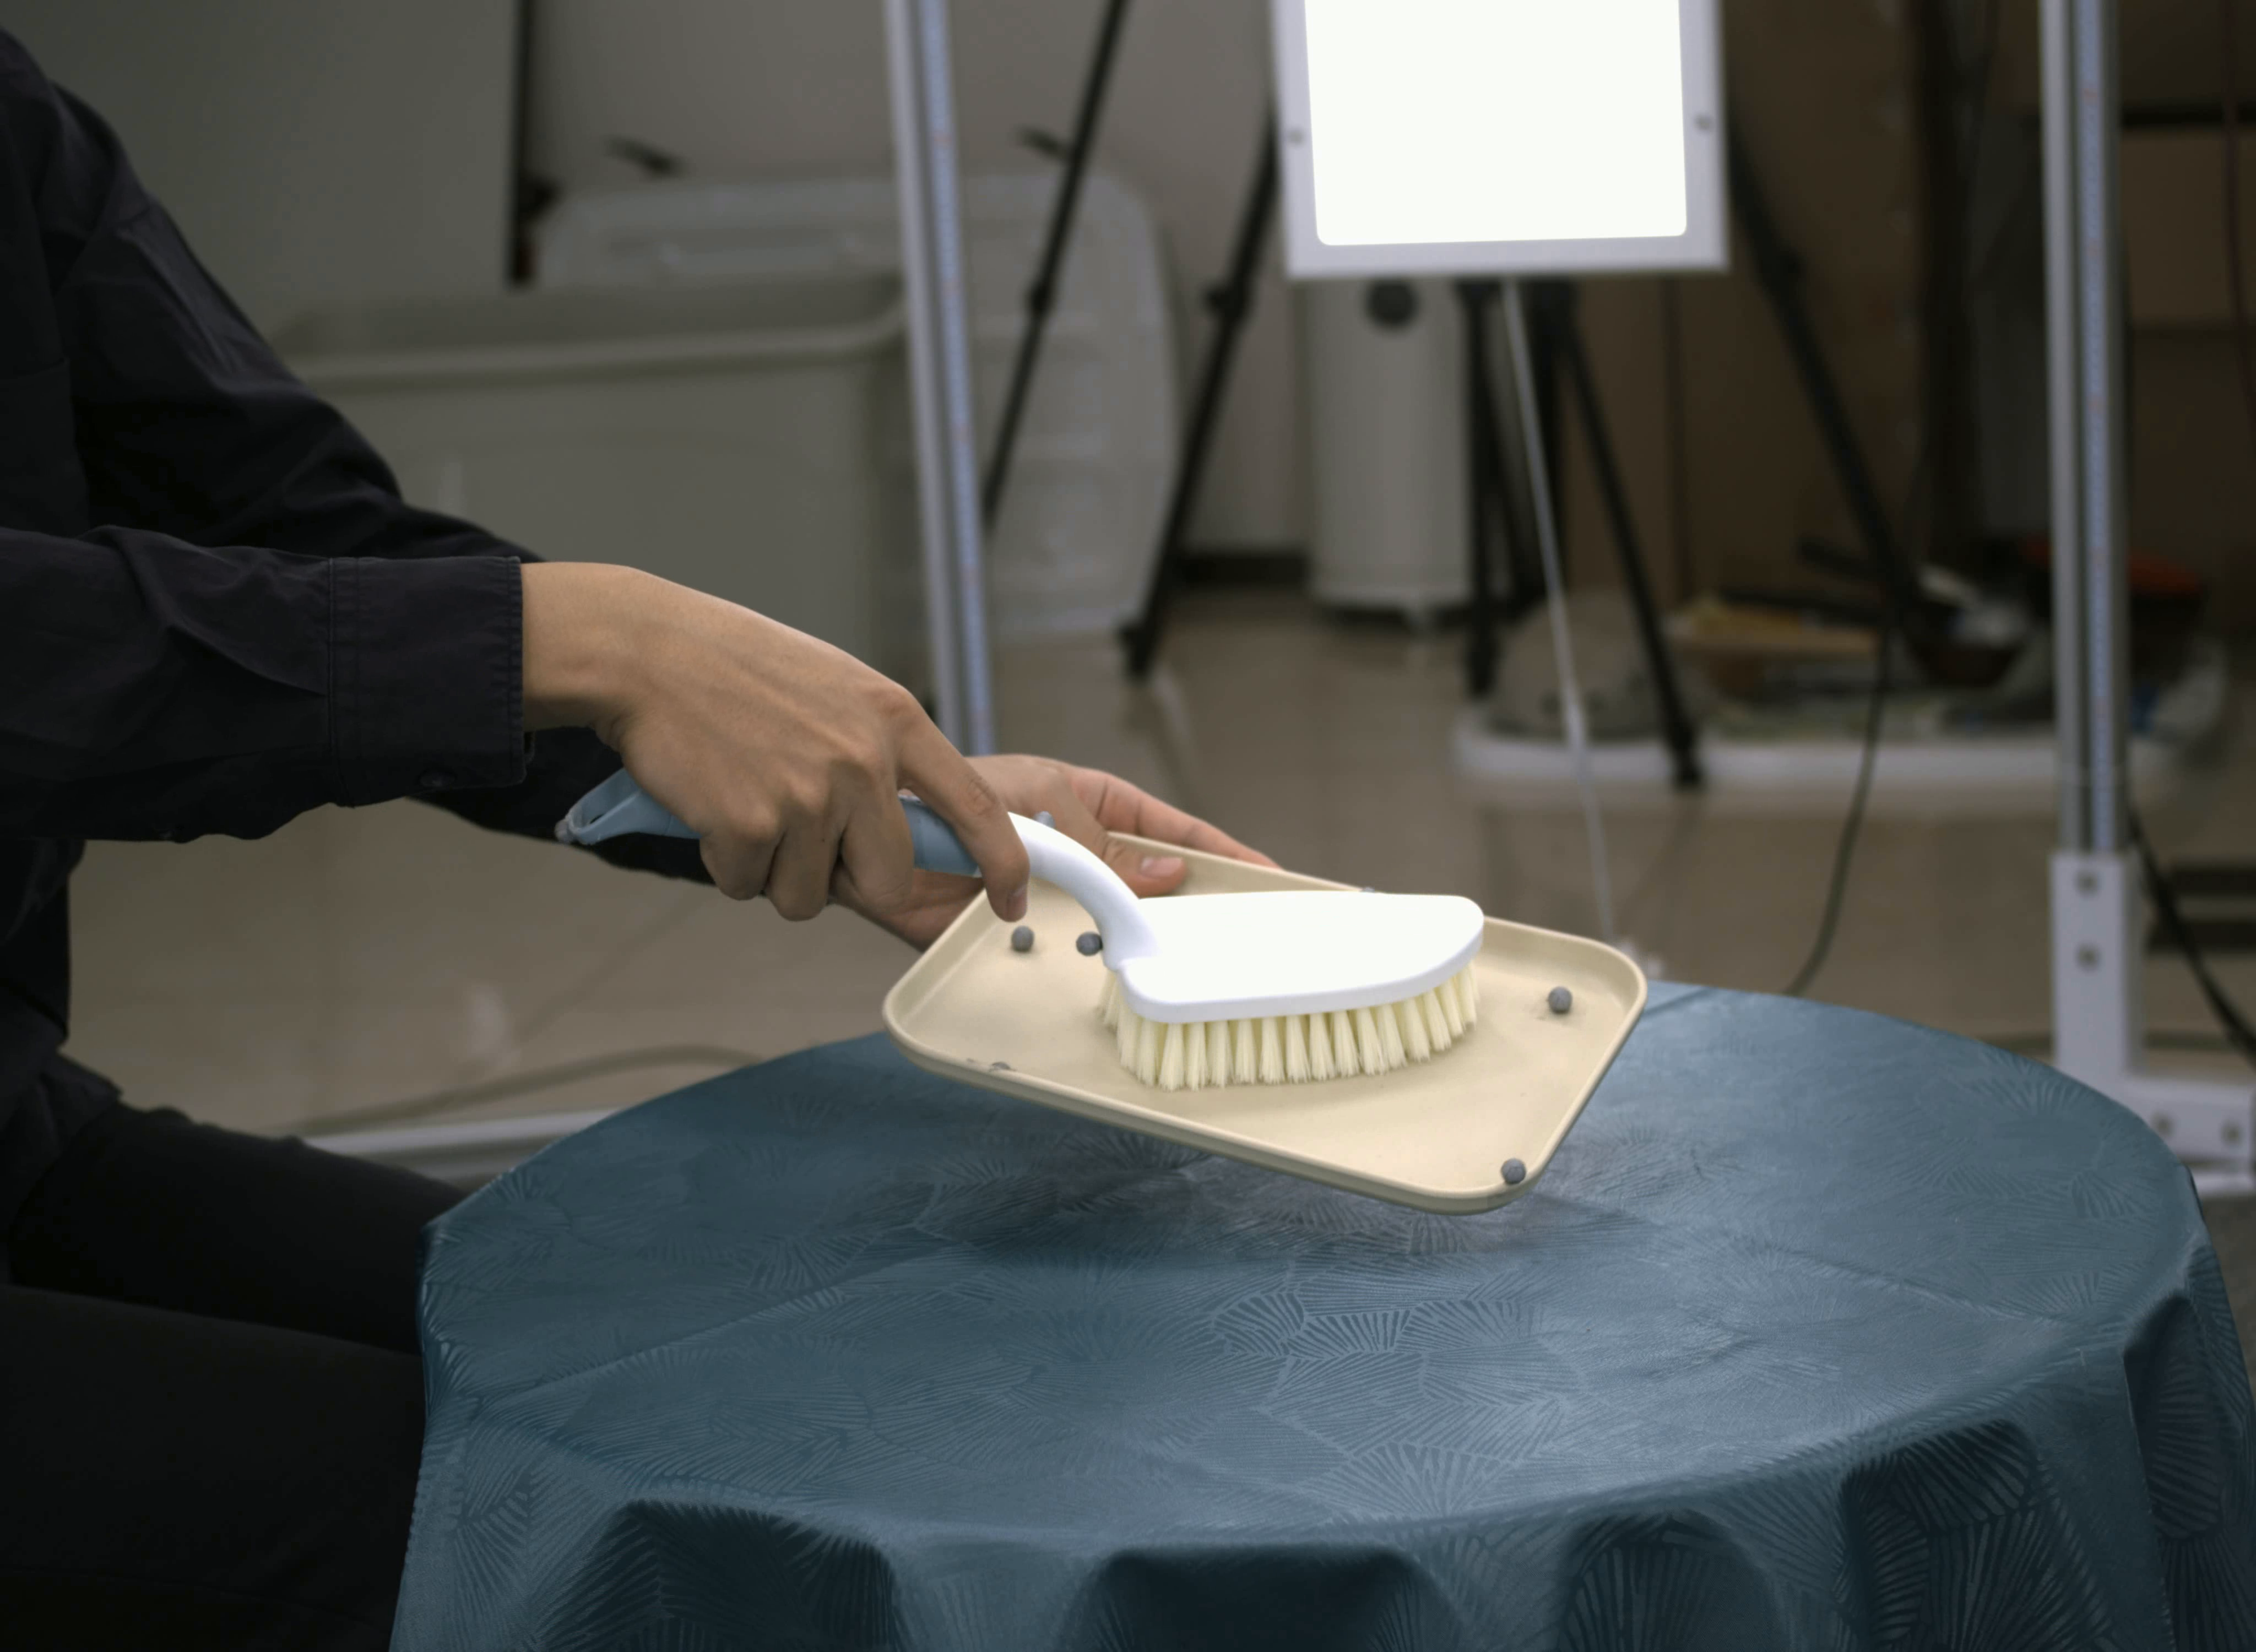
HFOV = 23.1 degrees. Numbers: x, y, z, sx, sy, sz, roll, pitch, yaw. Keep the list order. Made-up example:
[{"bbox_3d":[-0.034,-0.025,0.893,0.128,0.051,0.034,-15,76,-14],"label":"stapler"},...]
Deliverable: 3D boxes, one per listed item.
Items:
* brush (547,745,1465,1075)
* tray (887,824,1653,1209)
[{"bbox_3d":[-0.043,0.037,1.864,0.321,0.084,0.084,8,-9,-13],"label":"brush"},{"bbox_3d":[0.050,0.065,1.891,0.243,0.017,0.168,13,33,21],"label":"tray"}]
